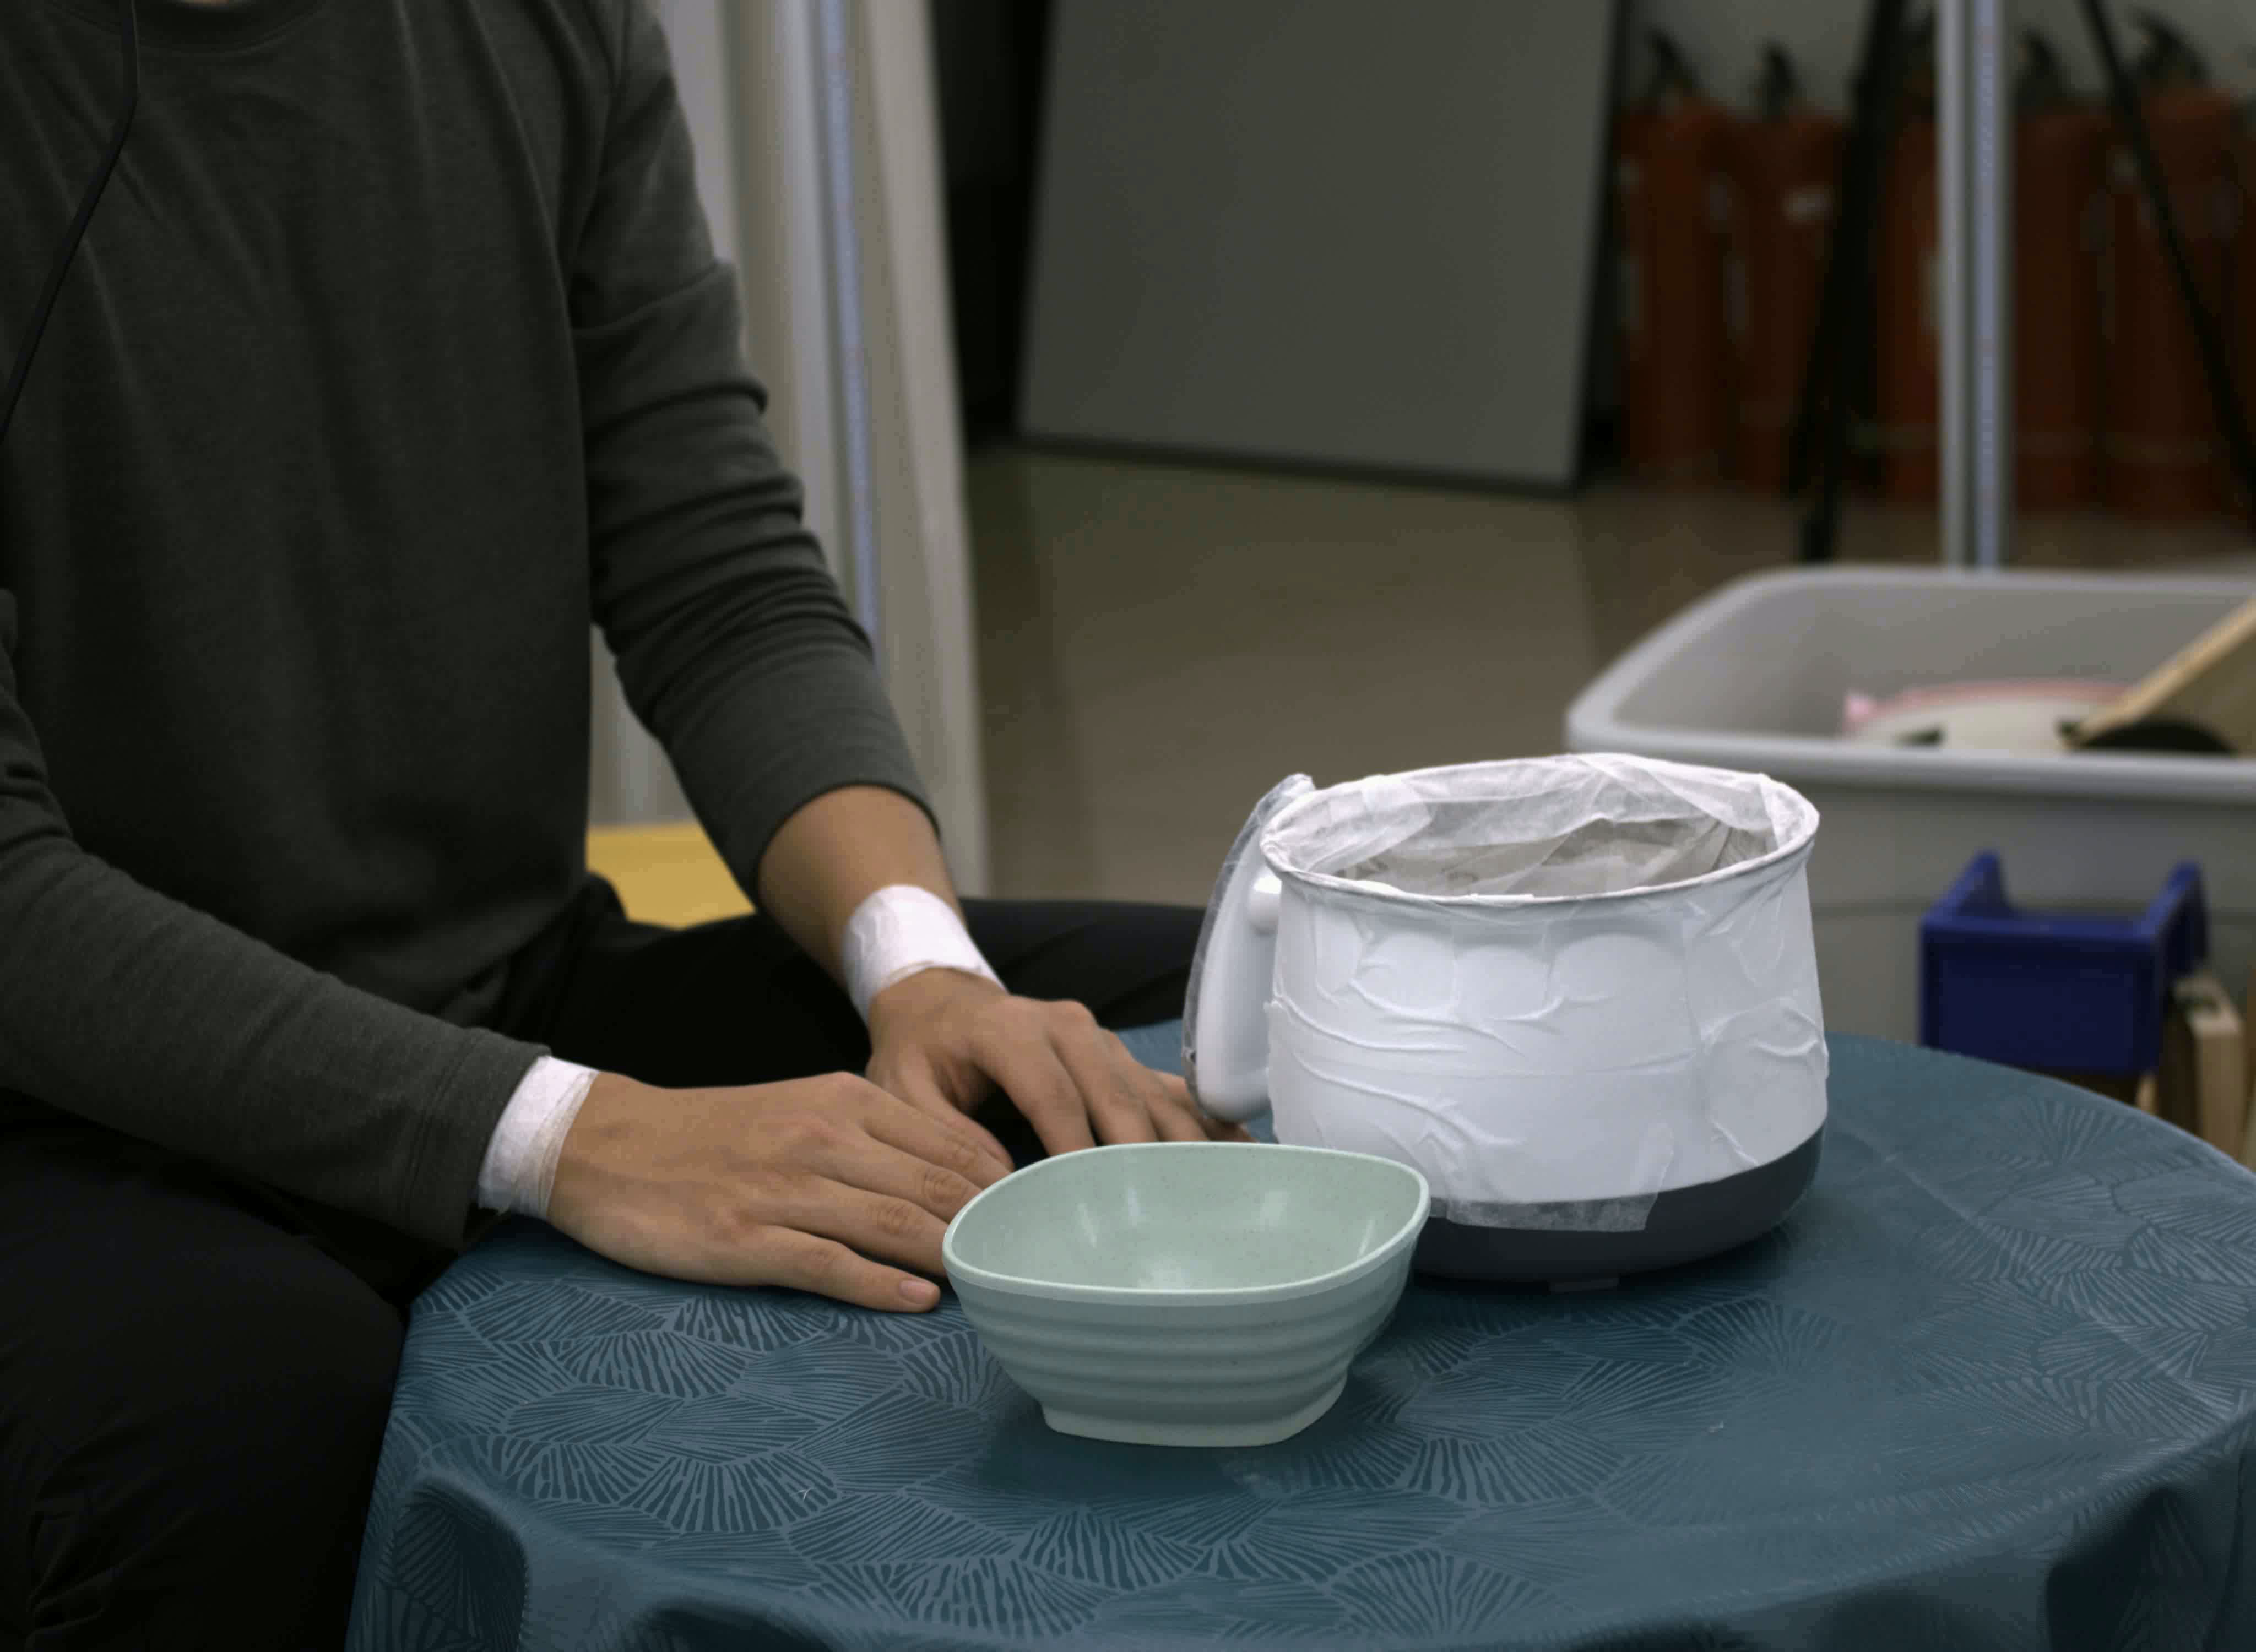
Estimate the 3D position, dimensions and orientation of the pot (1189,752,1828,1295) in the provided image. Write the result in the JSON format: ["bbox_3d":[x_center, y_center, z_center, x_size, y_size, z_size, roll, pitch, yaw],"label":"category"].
[{"bbox_3d":[0.111,0.058,1.716,0.235,0.138,0.175,7,17,41],"label":"pot"}]

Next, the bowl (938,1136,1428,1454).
[{"bbox_3d":[0.018,0.140,1.572,0.149,0.059,0.152,-3,14,0],"label":"bowl"}]
